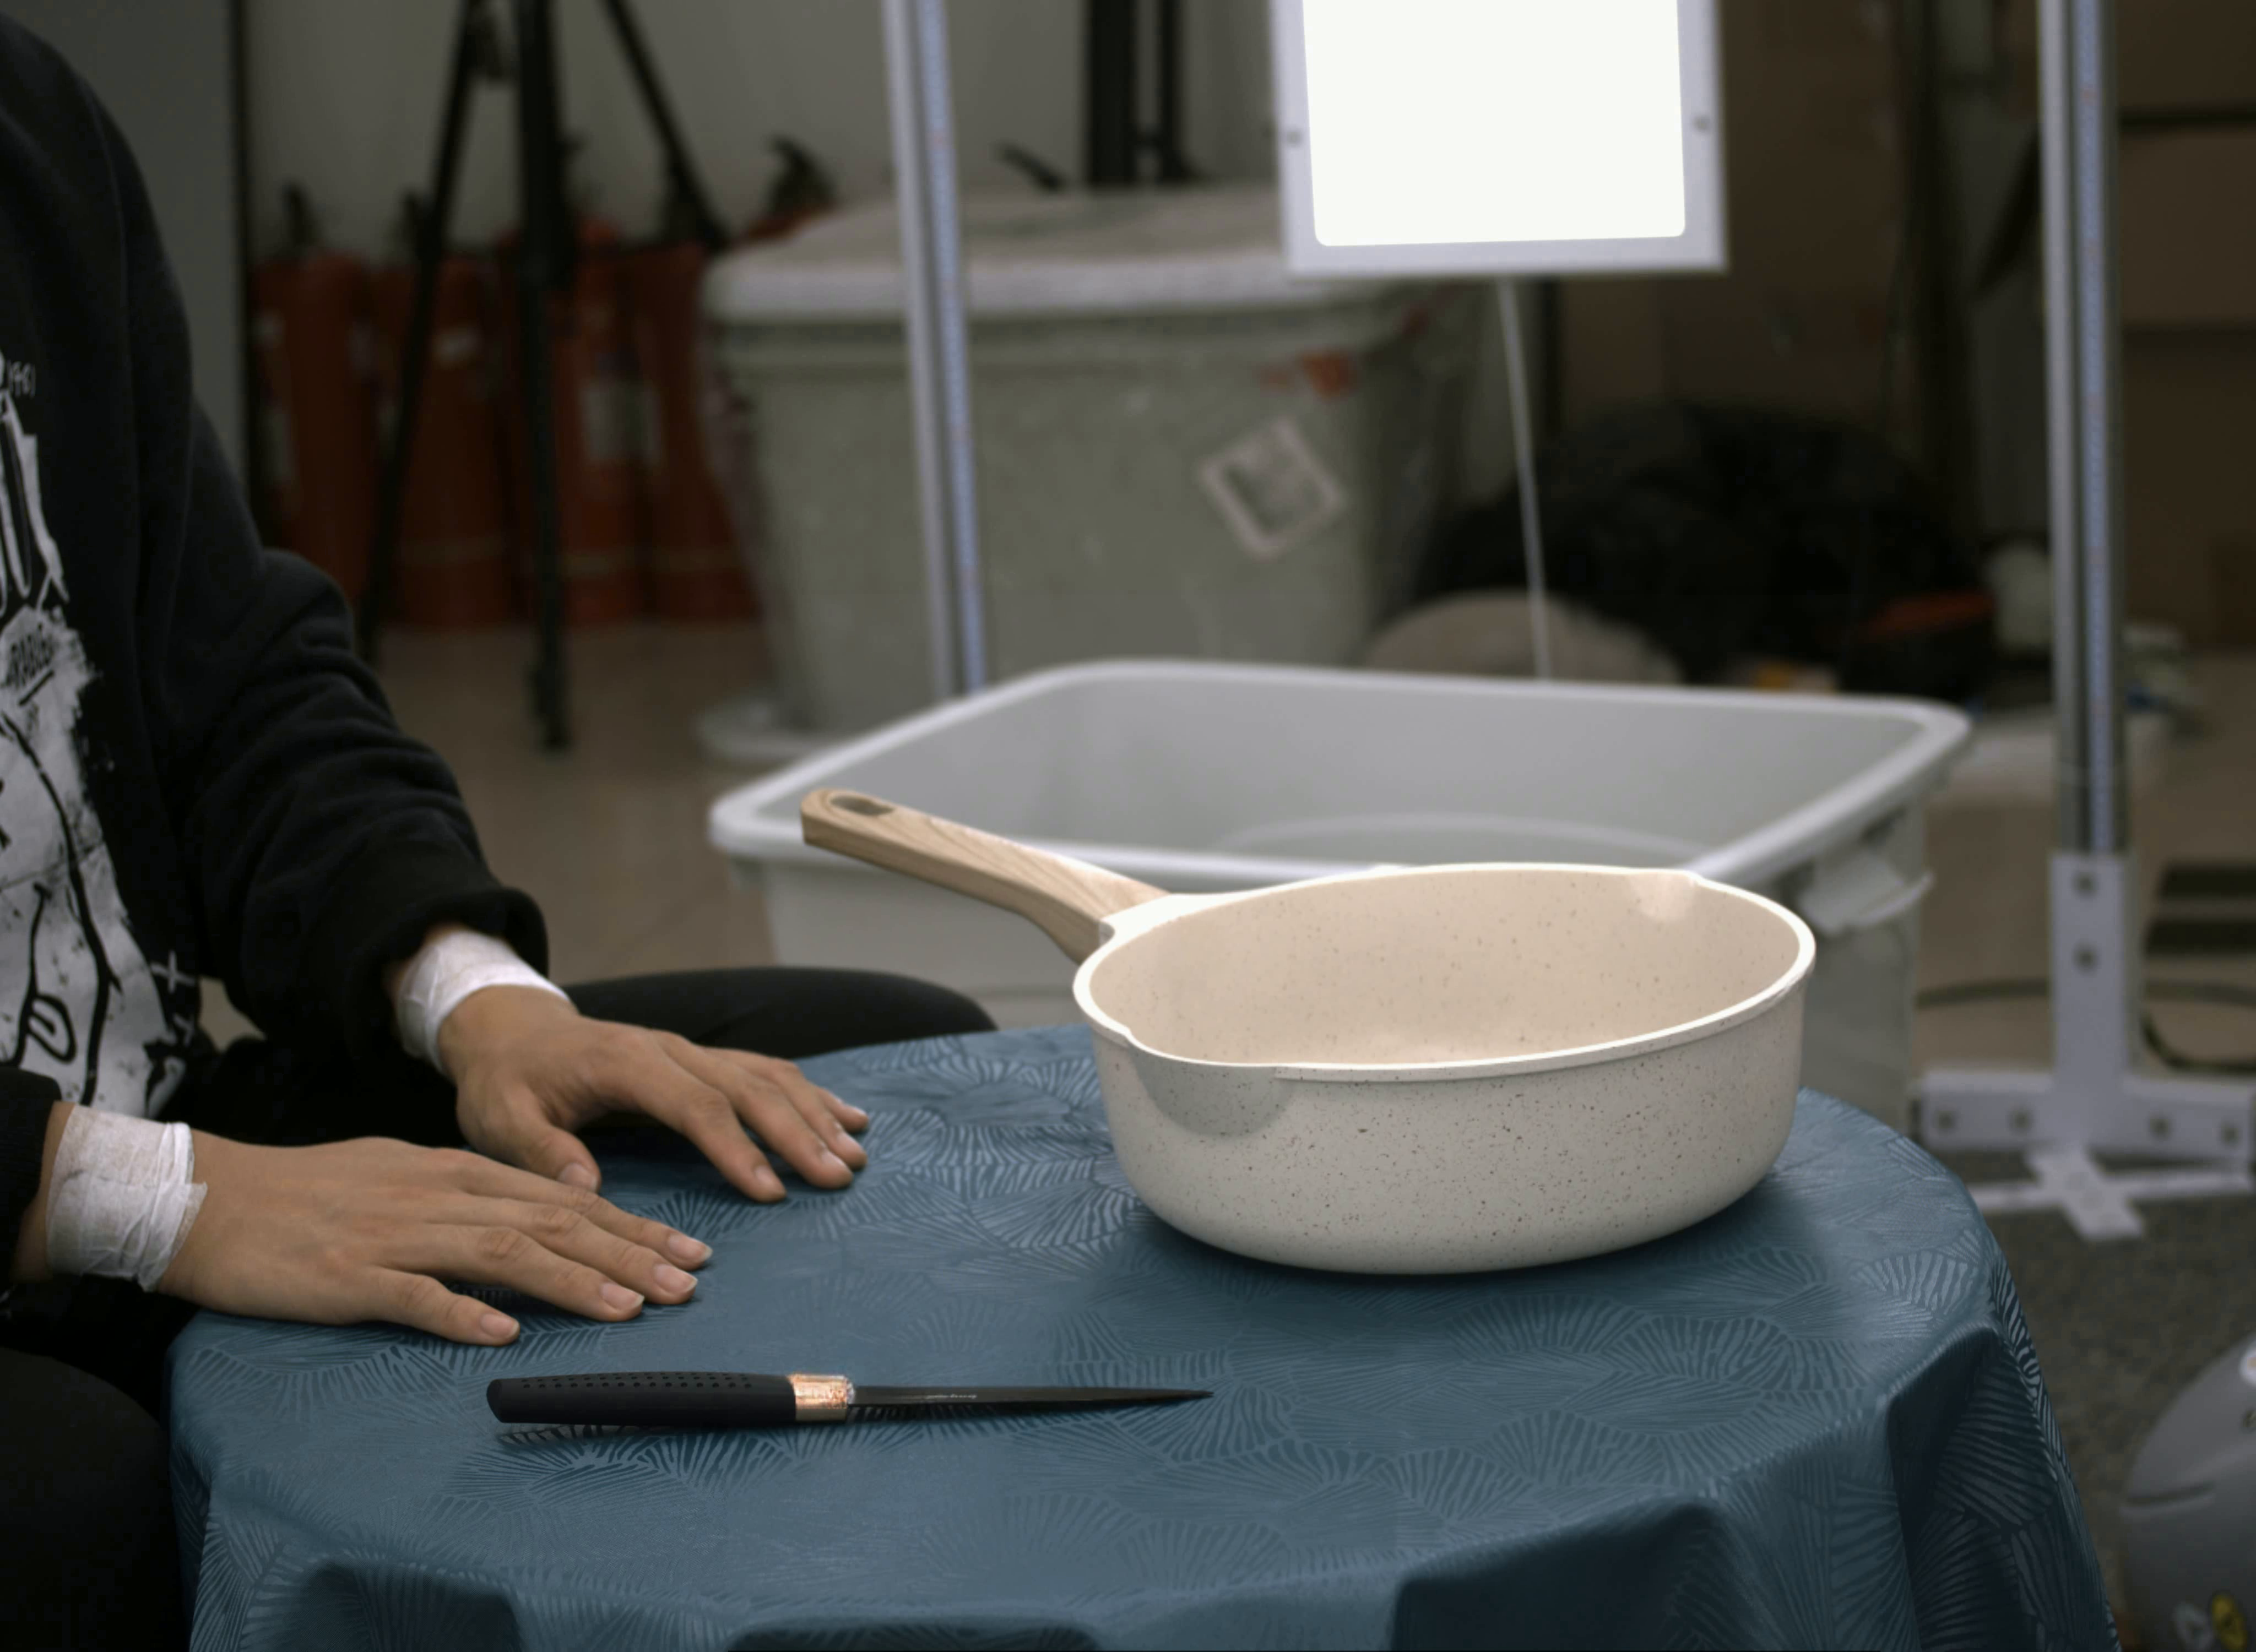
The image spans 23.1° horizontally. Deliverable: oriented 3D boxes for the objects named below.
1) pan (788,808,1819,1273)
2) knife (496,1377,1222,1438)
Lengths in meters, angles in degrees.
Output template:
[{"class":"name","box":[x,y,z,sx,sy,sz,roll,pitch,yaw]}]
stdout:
[{"class":"pan","box":[0.044,0.065,1.927,0.444,0.102,0.257,8,21,44]},{"class":"knife","box":[-0.083,0.178,1.705,0.226,0.017,0.026,-3,-2,6]}]
